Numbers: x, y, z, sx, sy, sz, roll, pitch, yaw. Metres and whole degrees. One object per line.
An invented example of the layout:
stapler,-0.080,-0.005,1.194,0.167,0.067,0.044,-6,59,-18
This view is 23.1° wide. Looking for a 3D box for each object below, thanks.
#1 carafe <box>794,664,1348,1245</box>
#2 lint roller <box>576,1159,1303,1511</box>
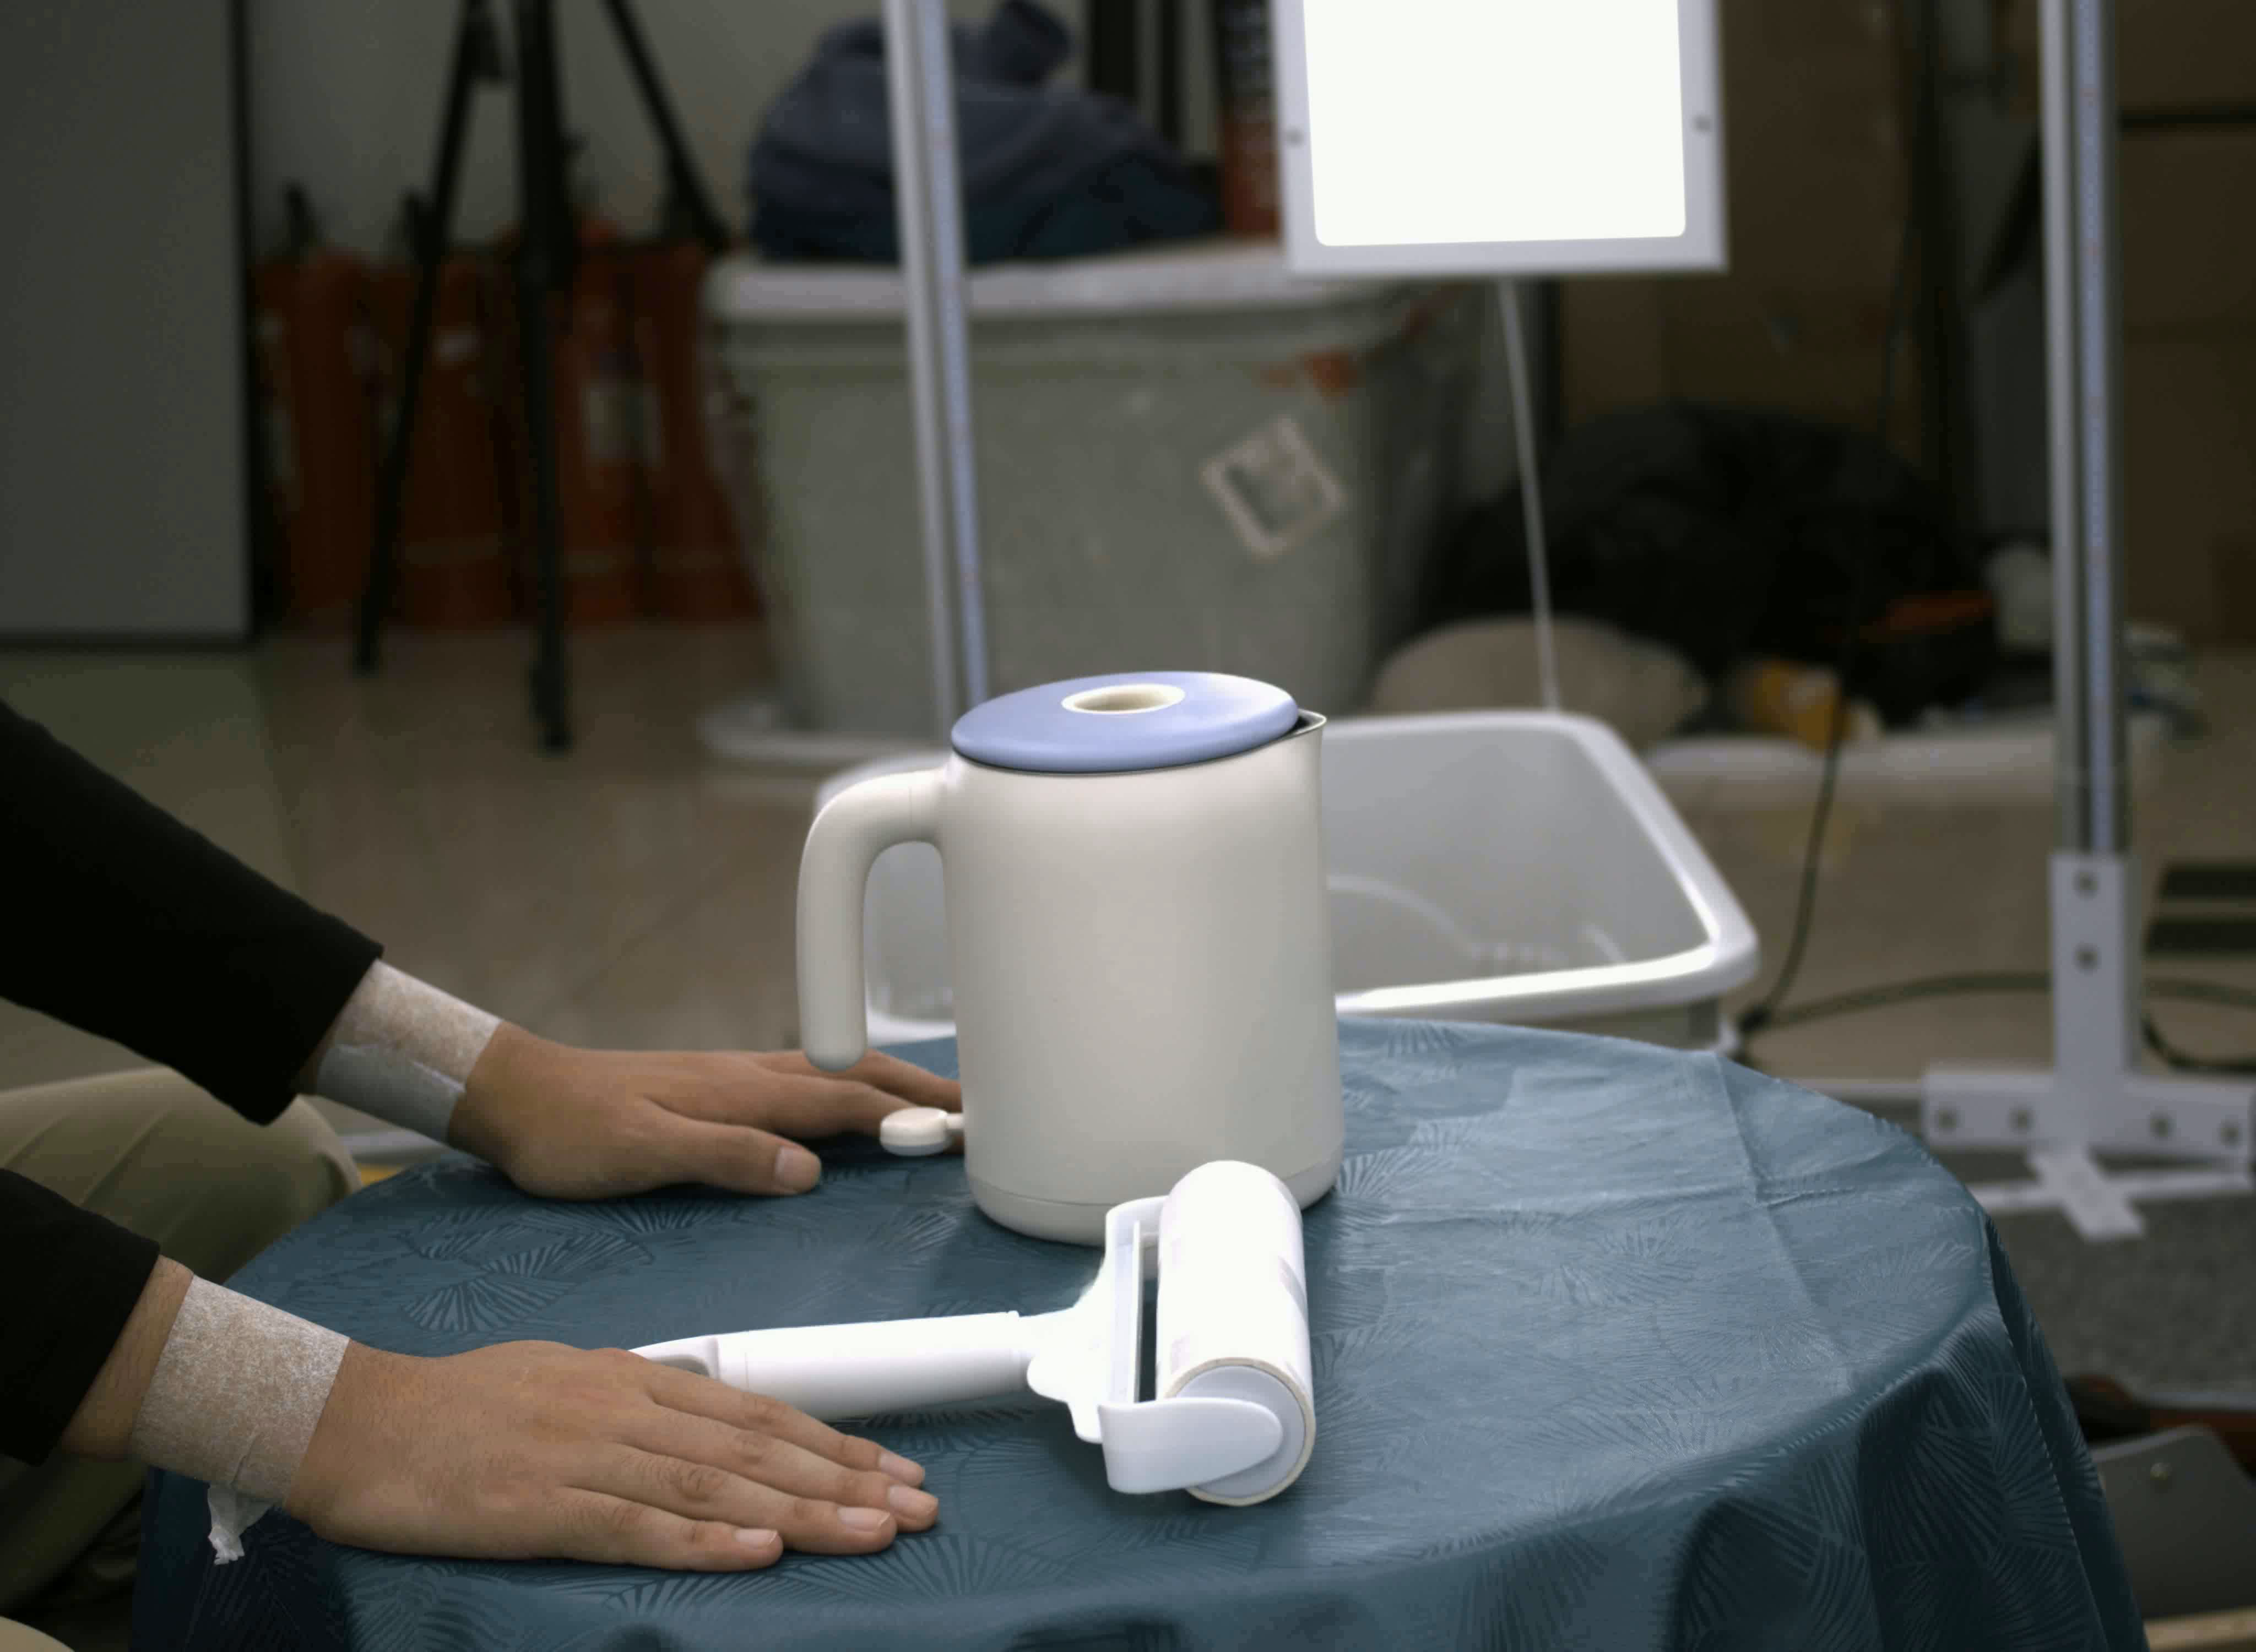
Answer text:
carafe,-0.020,0.045,1.876,0.191,0.183,0.131,-6,13,6
lint roller,-0.059,0.161,1.688,0.225,0.048,0.202,-6,15,3
